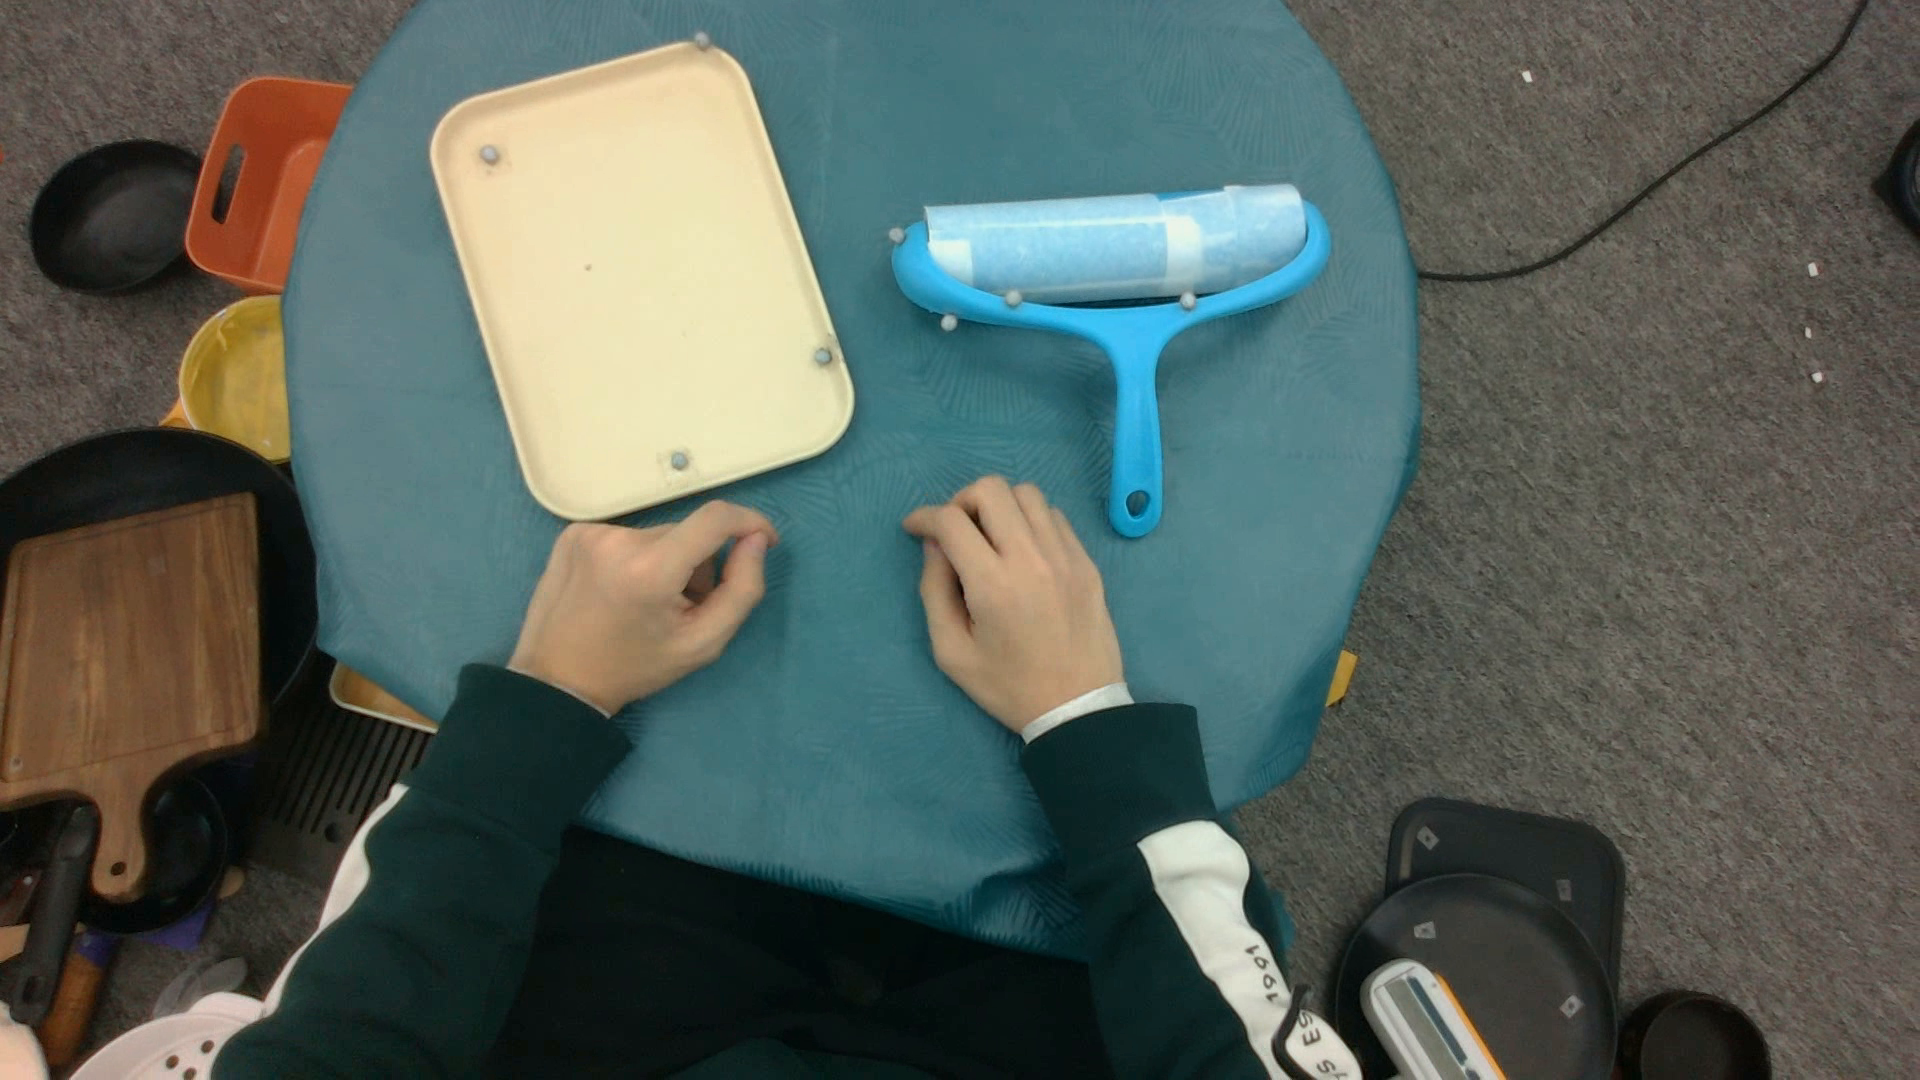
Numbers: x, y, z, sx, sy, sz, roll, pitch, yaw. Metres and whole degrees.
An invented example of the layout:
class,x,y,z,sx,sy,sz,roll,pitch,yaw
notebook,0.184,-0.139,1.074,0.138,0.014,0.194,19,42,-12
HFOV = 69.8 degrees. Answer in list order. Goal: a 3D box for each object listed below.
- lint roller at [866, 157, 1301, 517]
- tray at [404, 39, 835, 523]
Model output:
class,x,y,z,sx,sy,sz,roll,pitch,yaw
lint roller,0.075,-0.106,0.708,0.229,0.068,0.180,-9,79,-7
tray,-0.177,-0.137,0.715,0.171,0.017,0.240,-20,81,-7
